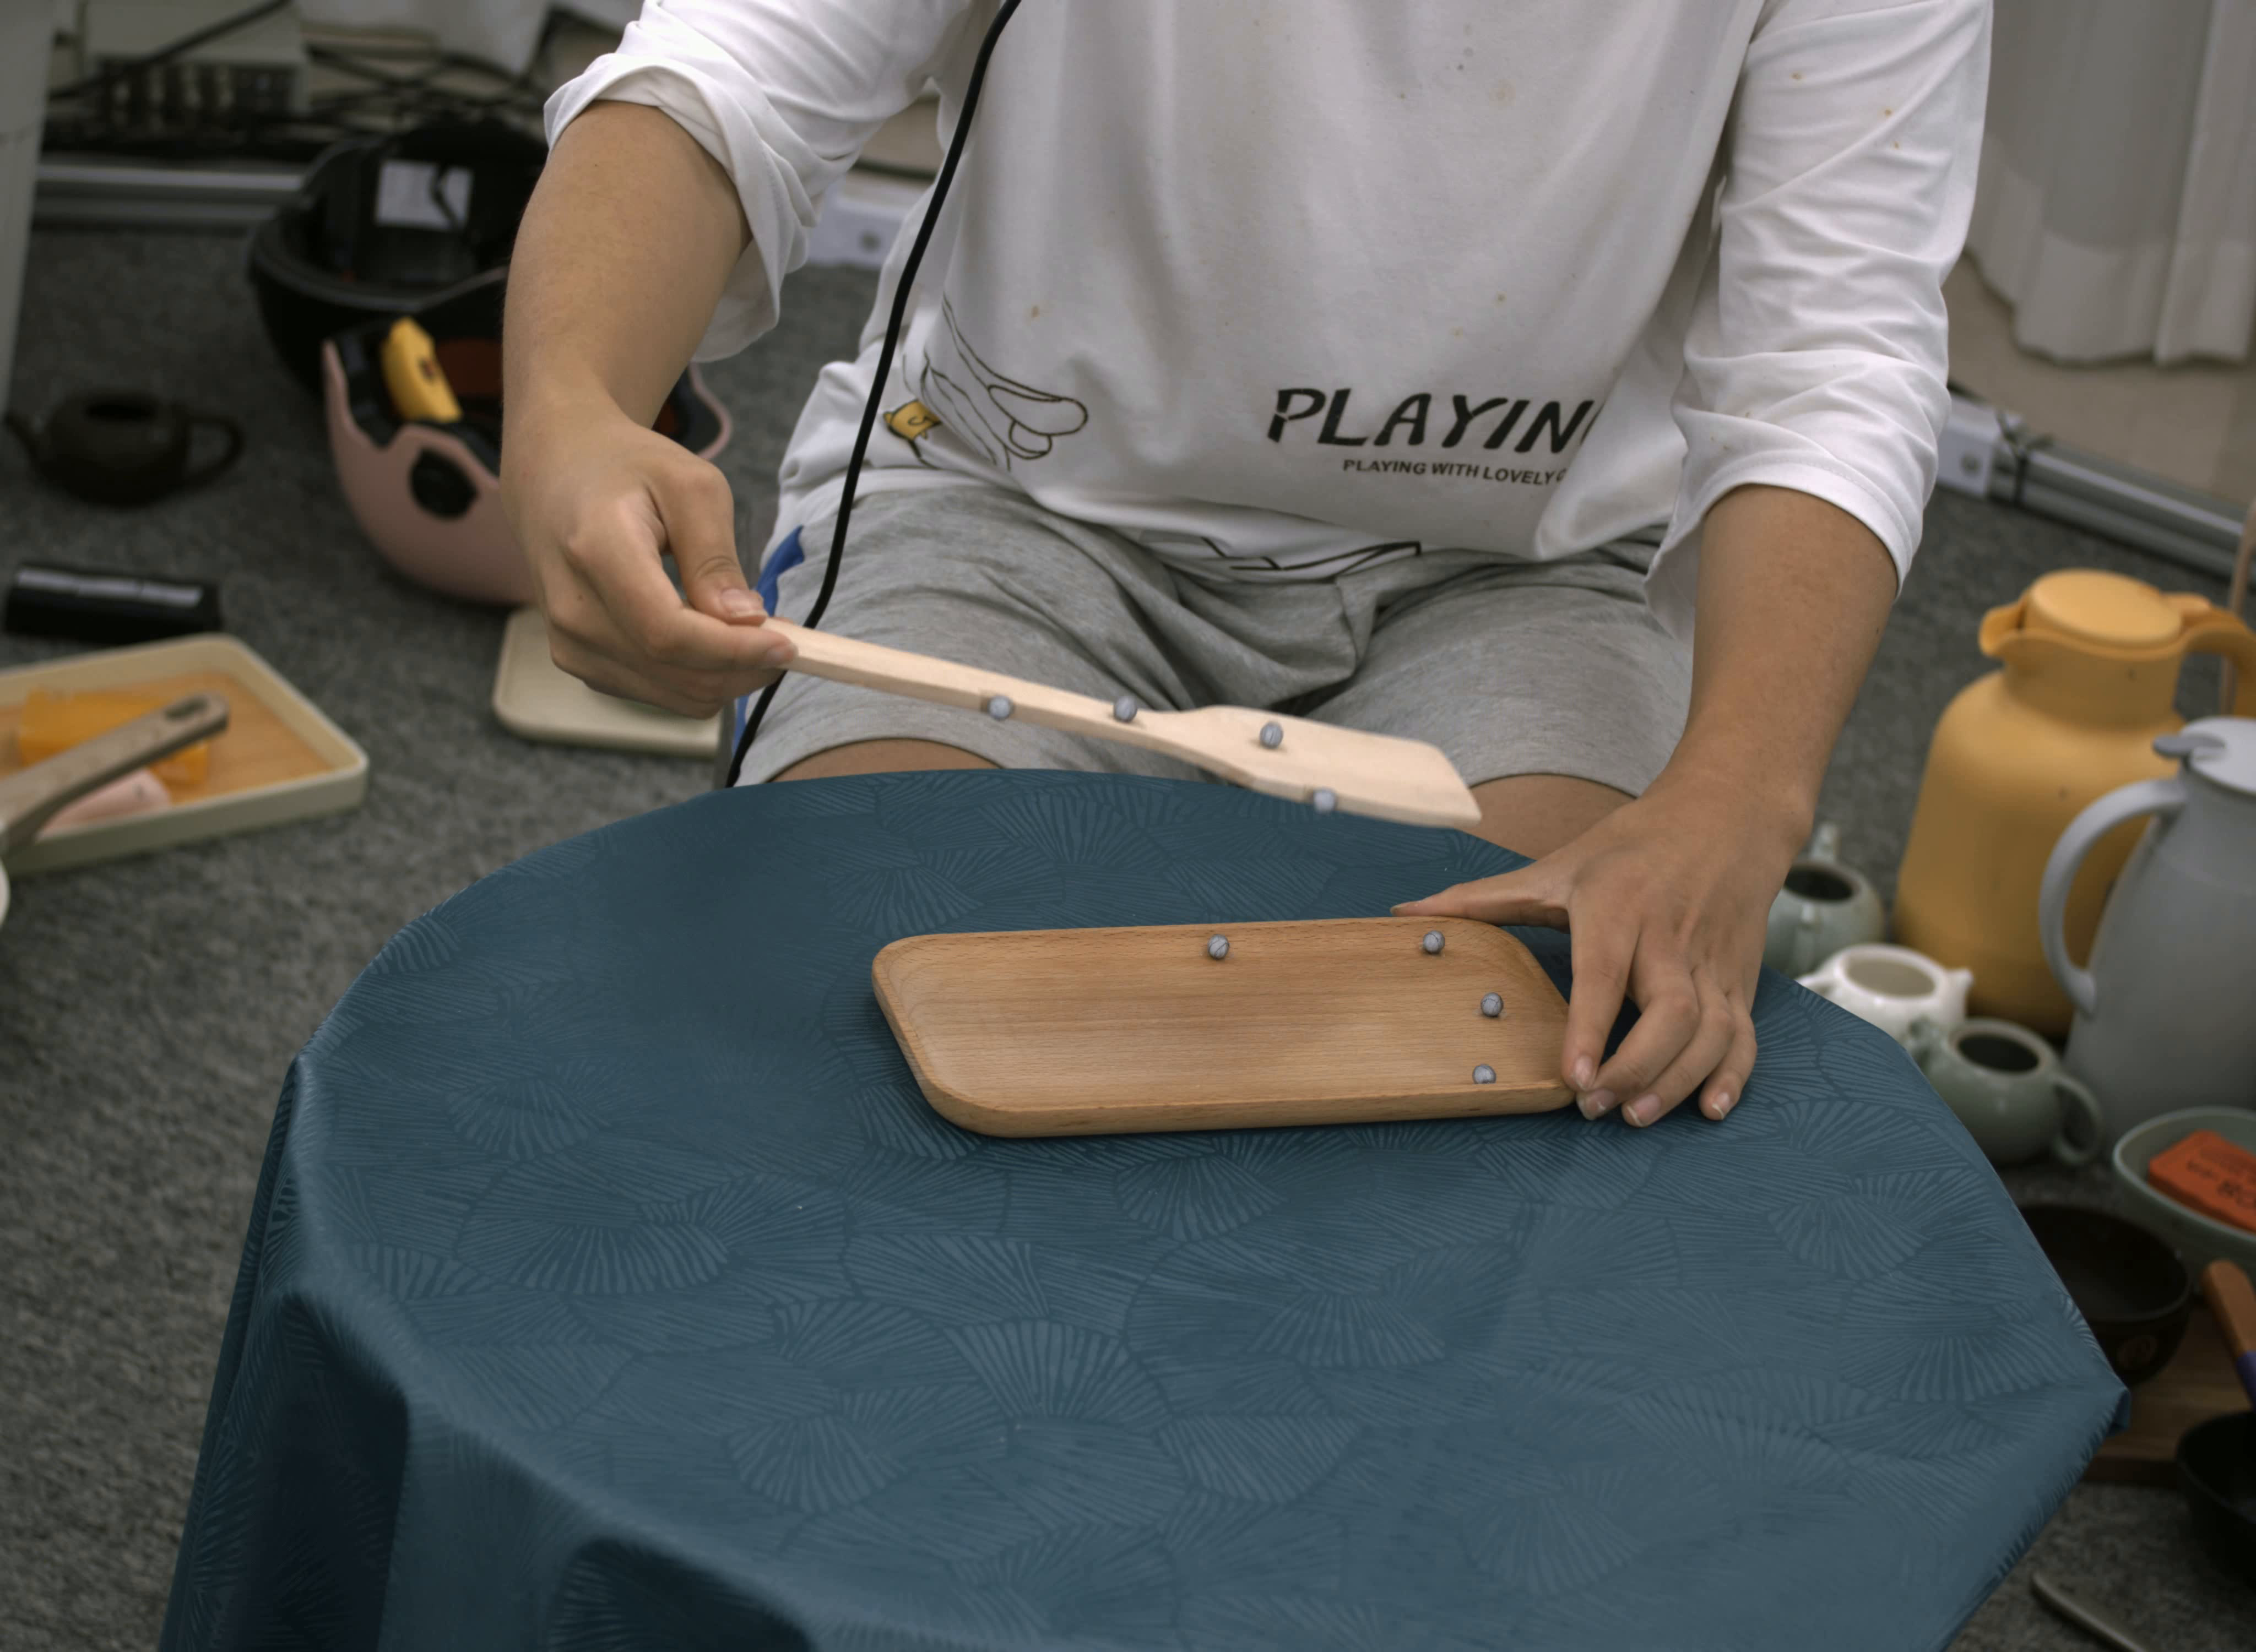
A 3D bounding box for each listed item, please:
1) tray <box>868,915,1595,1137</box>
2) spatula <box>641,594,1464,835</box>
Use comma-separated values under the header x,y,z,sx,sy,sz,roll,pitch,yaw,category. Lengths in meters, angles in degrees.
x,y,z,sx,sy,sz,roll,pitch,yaw,category
0.036,0.071,1.902,0.249,0.023,0.131,-2,25,-15,tray
-0.026,-0.040,1.812,0.291,0.010,0.073,13,21,-16,spatula
